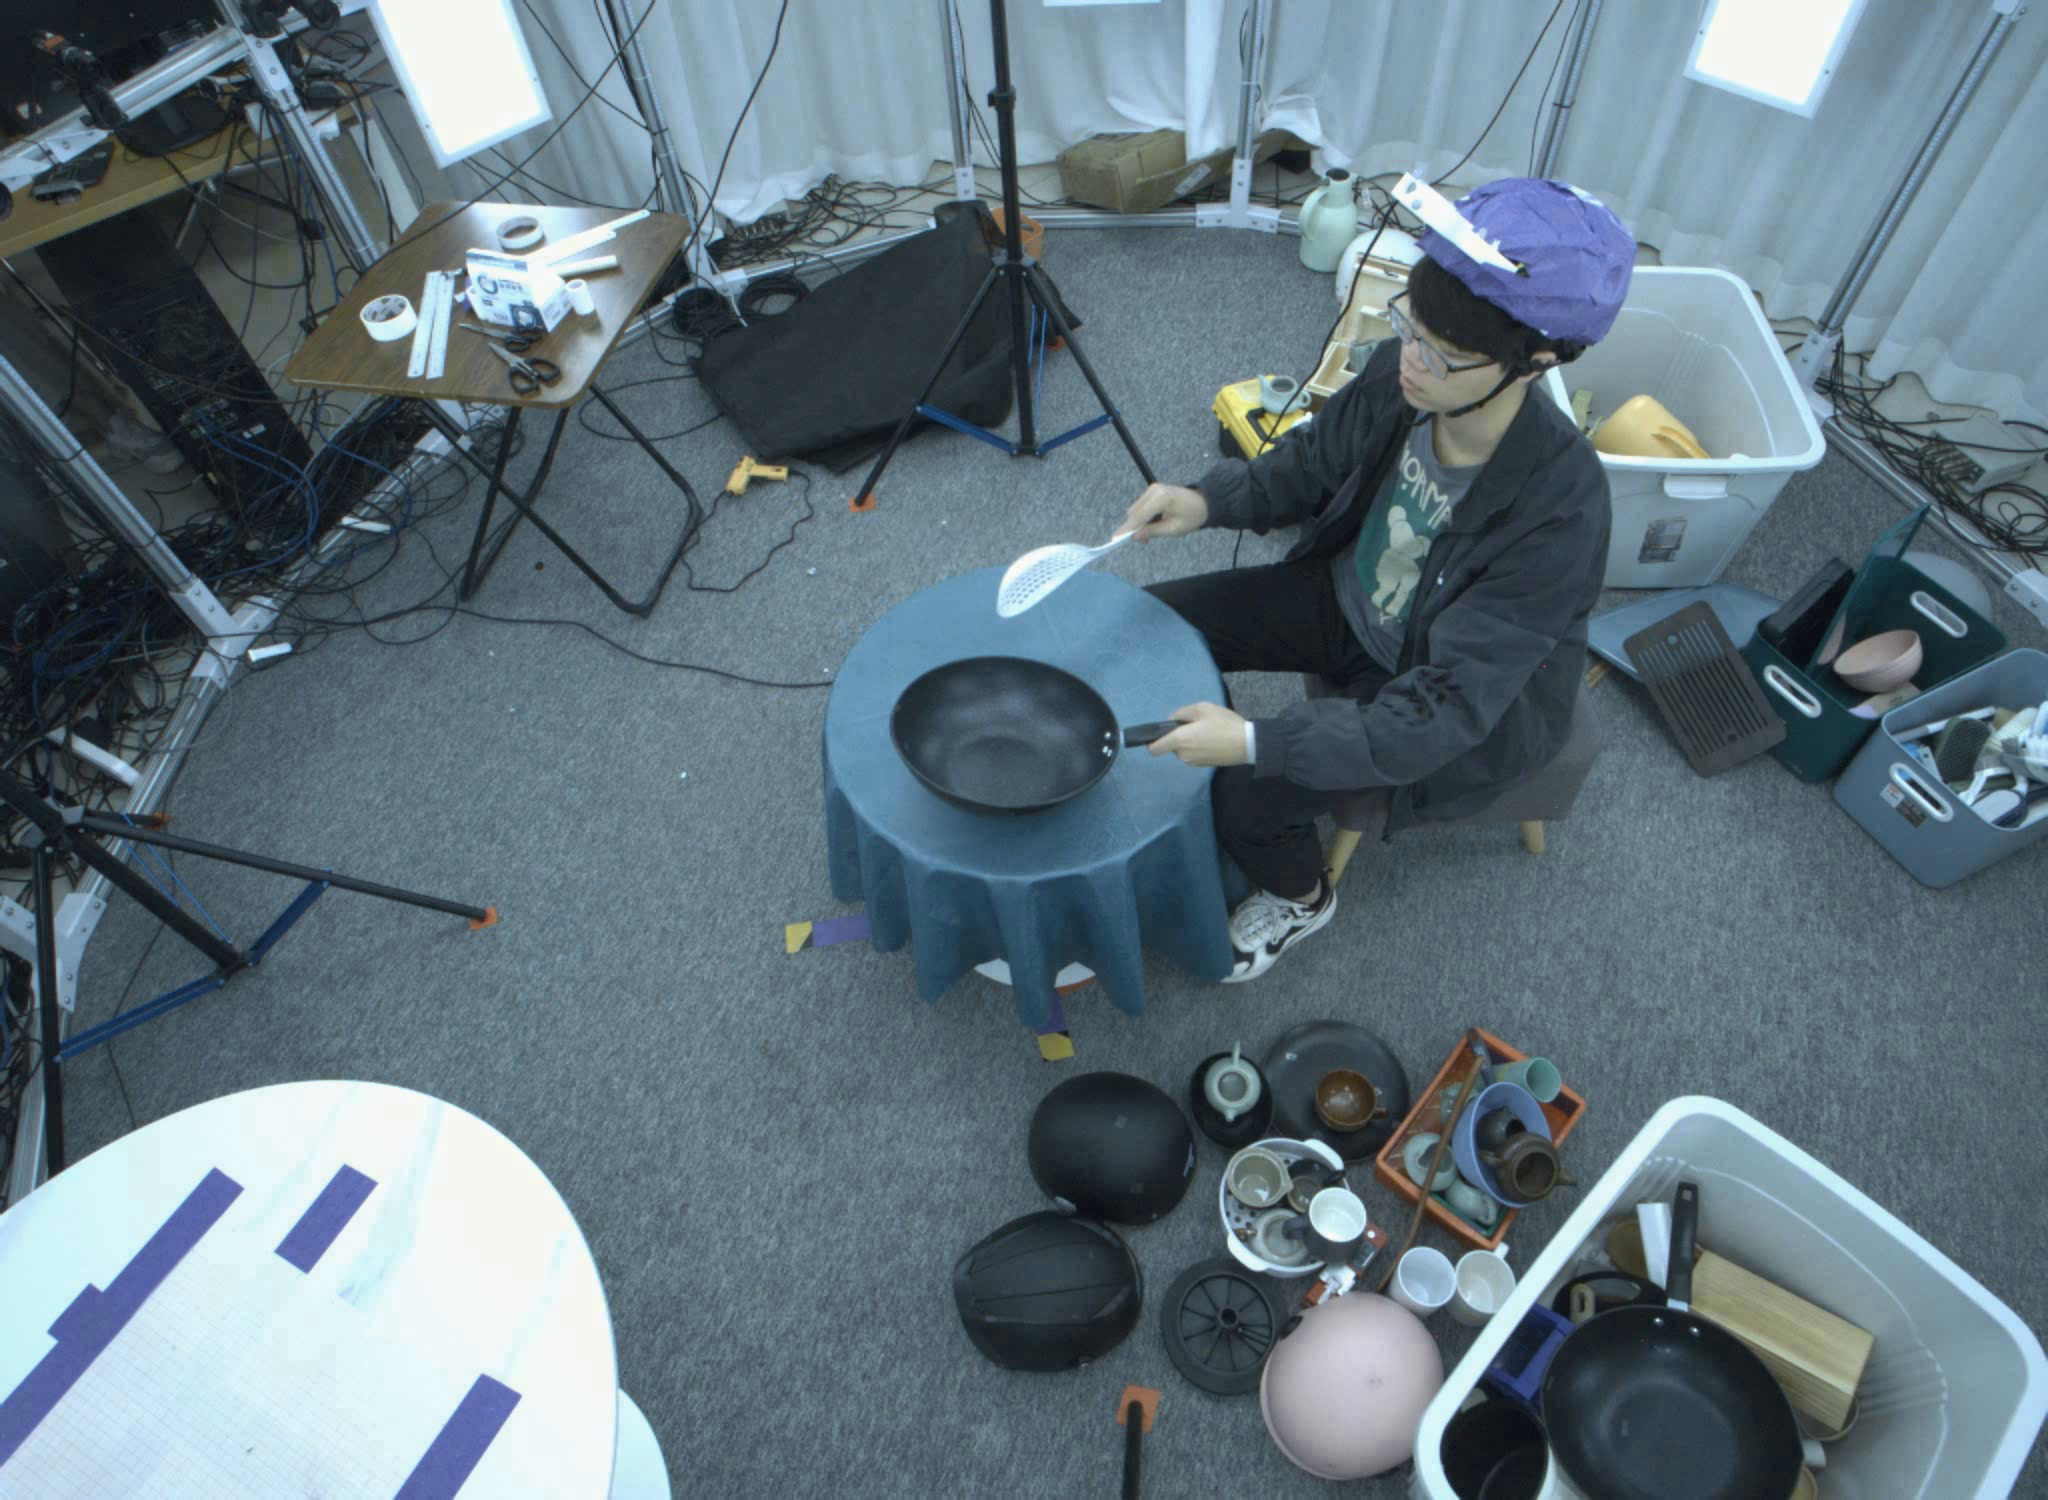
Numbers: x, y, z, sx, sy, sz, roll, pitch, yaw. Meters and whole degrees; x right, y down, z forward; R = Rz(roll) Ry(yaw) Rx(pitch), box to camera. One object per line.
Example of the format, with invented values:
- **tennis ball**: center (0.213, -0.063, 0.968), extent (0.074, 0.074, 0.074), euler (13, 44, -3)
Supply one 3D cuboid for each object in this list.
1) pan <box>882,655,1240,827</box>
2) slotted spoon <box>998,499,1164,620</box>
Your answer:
- **pan**: center (0.048, -0.004, 1.665), extent (0.479, 0.112, 0.306), euler (2, 44, -6)
- **slotted spoon**: center (0.089, -0.294, 1.796), extent (0.352, 0.137, 0.049), euler (-27, 64, -30)
